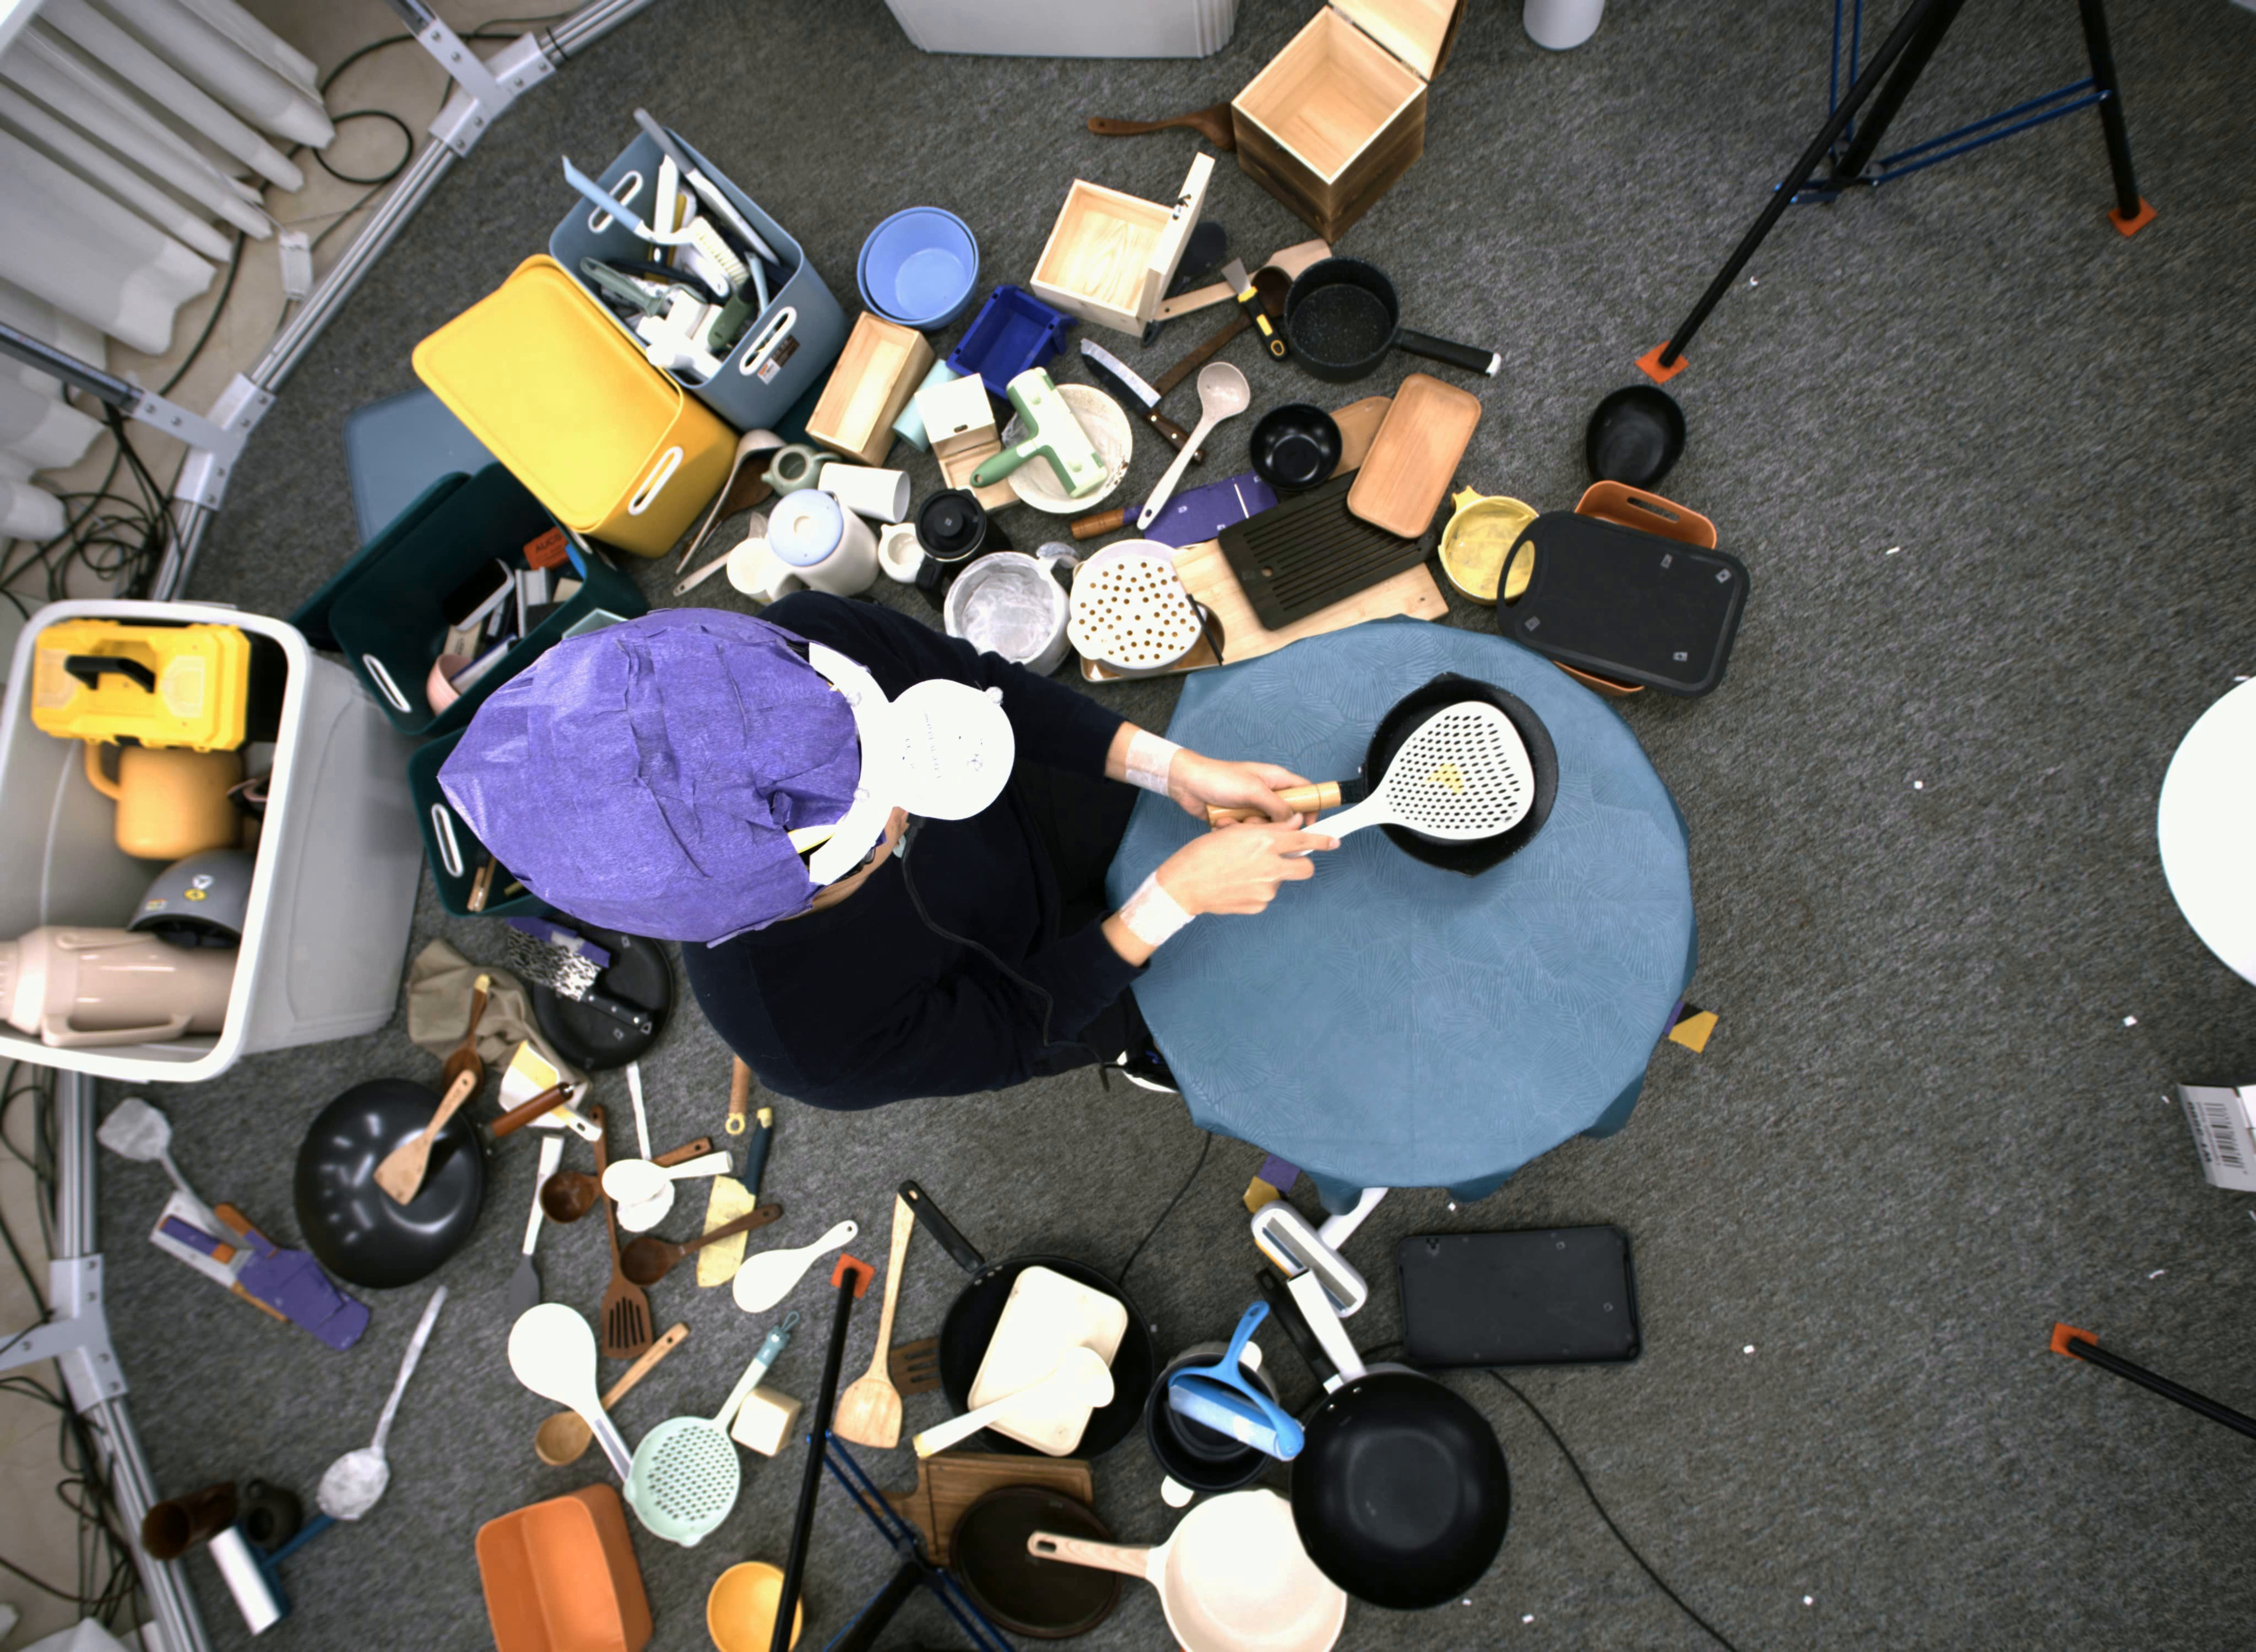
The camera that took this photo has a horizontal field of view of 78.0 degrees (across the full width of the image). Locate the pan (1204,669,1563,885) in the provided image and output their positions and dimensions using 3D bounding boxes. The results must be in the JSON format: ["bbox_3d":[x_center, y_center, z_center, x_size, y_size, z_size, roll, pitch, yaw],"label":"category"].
[{"bbox_3d":[0.247,-0.038,1.354,0.344,0.107,0.208,-10,95,8],"label":"pan"}]

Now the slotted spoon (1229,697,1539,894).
[{"bbox_3d":[0.245,-0.017,1.322,0.344,0.051,0.137,-24,92,-22],"label":"slotted spoon"}]
